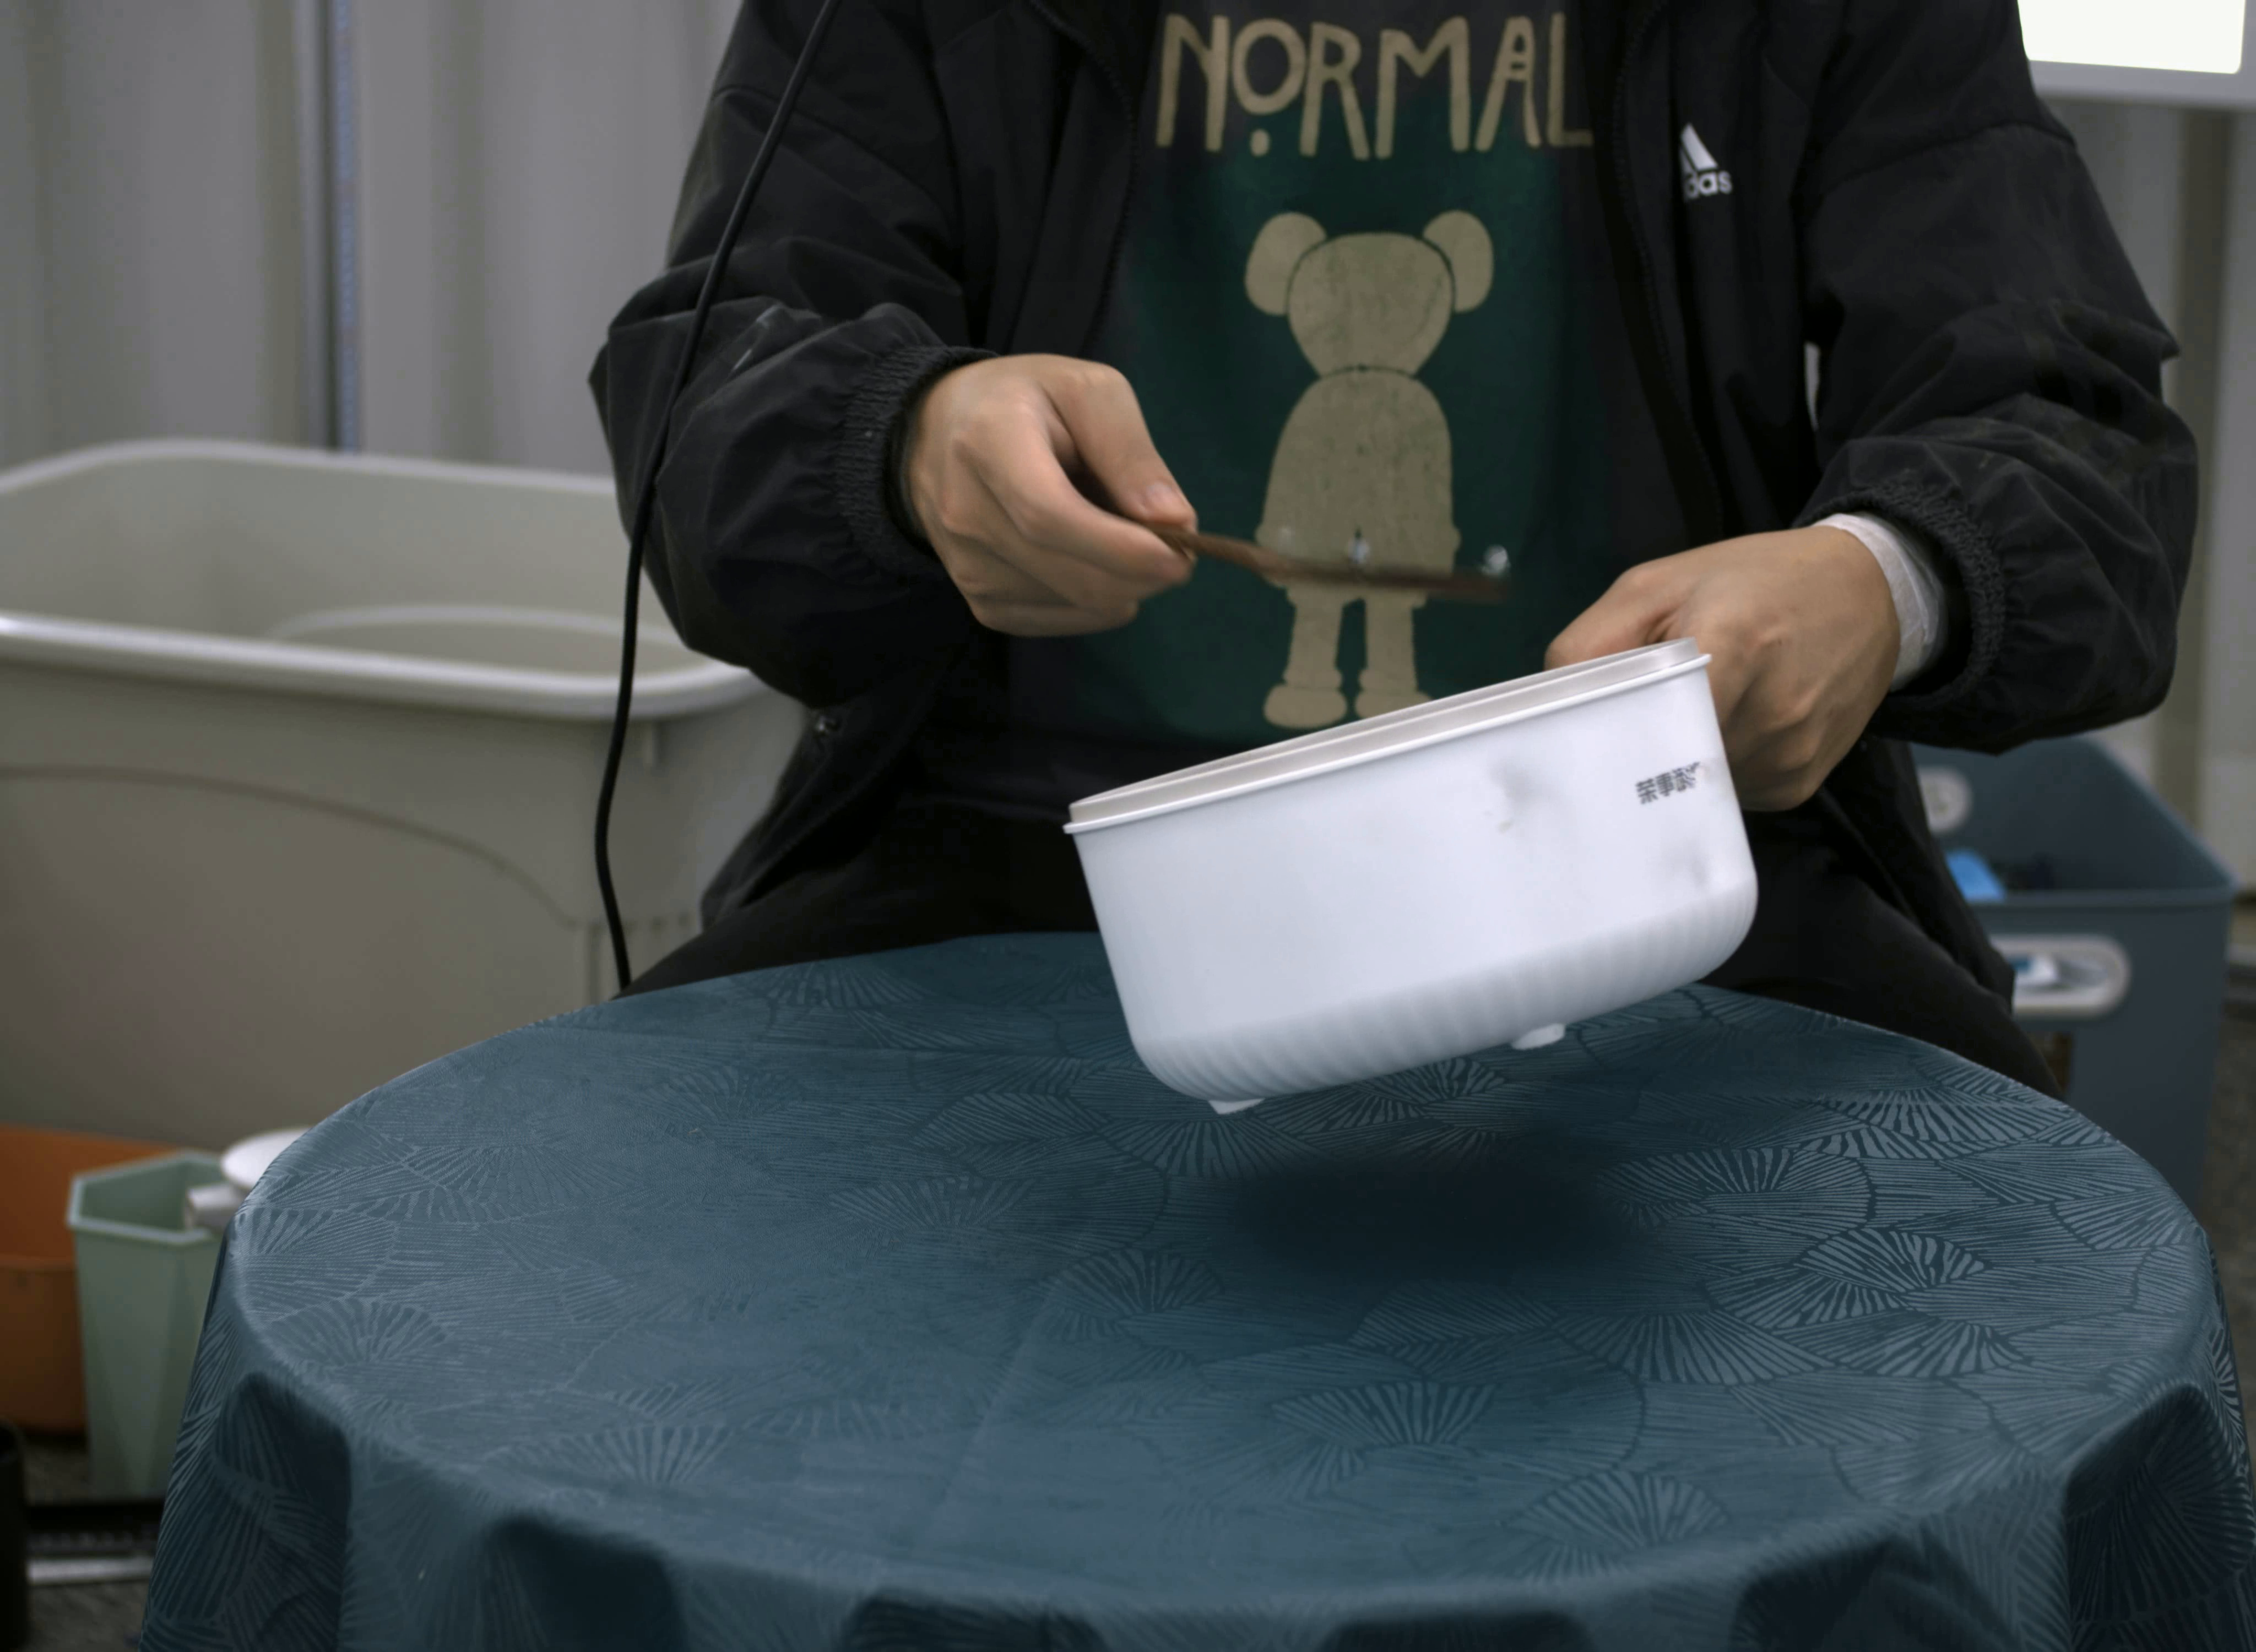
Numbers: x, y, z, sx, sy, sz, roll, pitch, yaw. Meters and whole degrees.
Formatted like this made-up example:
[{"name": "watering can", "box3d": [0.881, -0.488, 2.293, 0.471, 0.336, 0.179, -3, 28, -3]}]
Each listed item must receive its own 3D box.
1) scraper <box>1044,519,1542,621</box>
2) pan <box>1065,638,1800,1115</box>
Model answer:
[{"name": "scraper", "box3d": [0.040, -0.081, 1.642, 0.076, 0.011, 0.208, 4, 7, -36]}, {"name": "pan", "box3d": [0.127, 0.008, 1.646, 0.199, 0.102, 0.356, -15, -1, 31]}]
